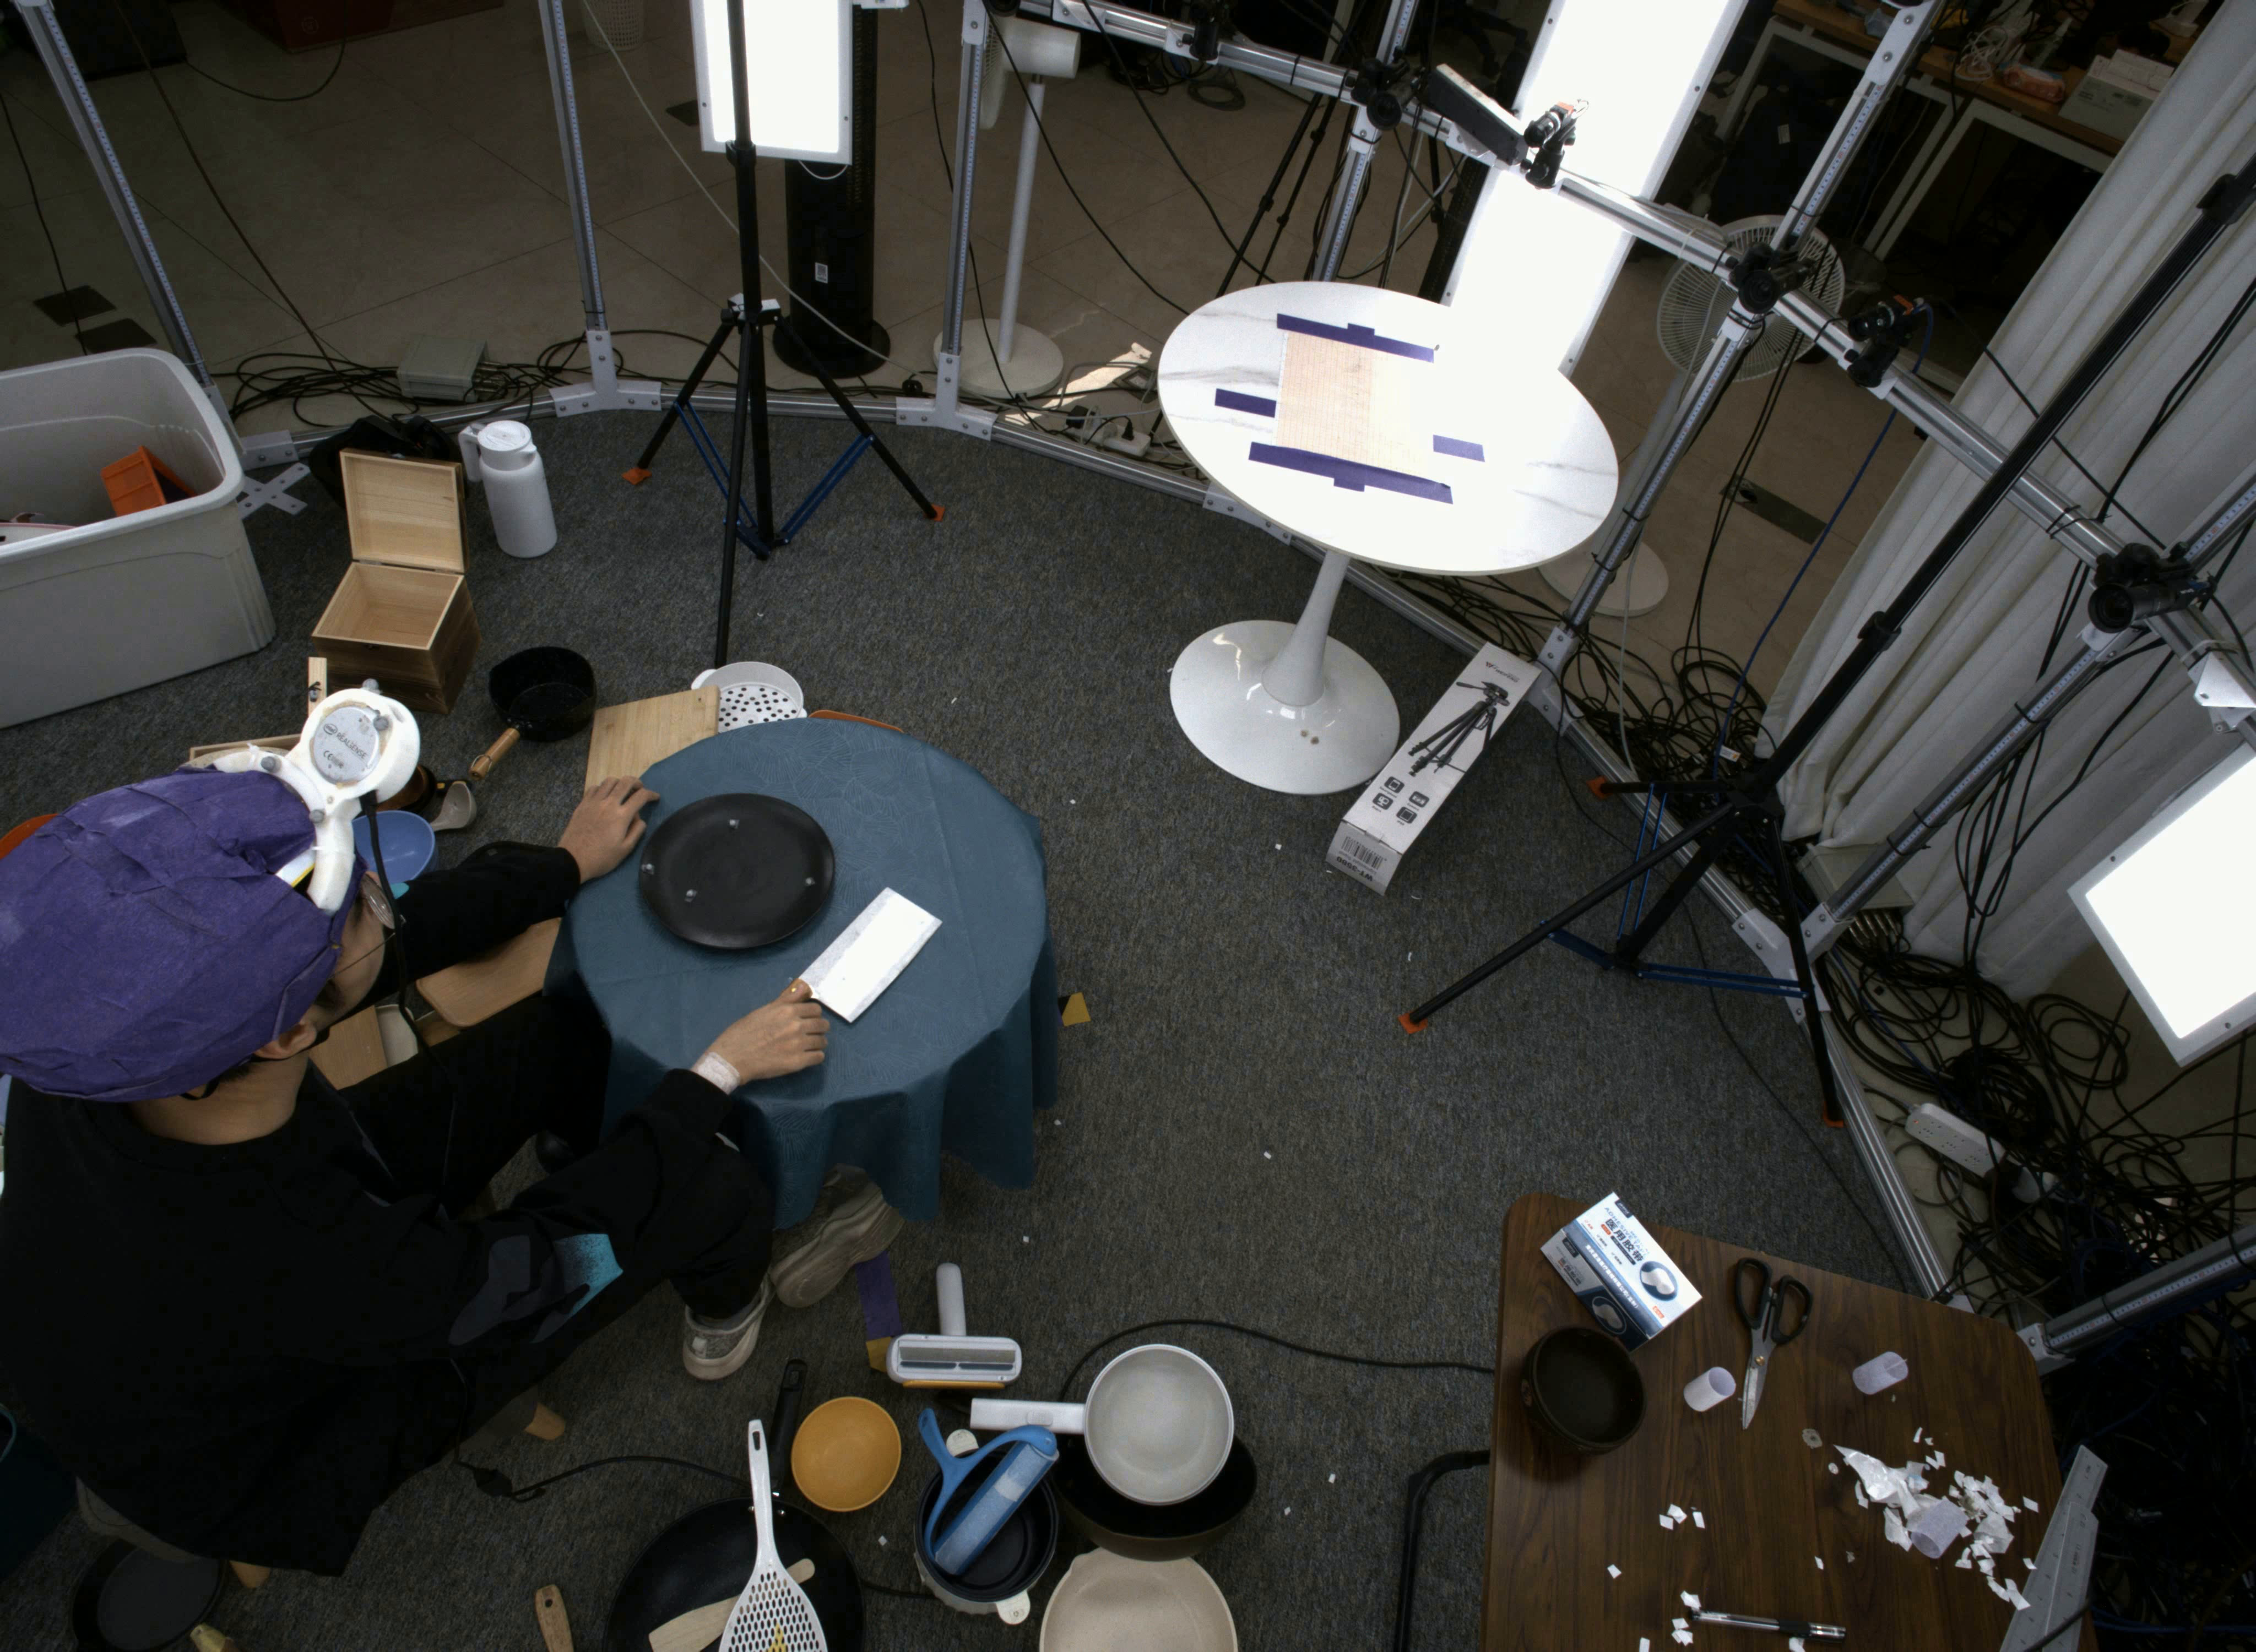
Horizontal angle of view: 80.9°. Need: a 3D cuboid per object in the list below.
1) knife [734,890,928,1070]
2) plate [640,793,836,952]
[{"bbox_3d":[-0.350,0.190,1.581,0.091,0.021,0.305,32,50,8],"label":"knife"},{"bbox_3d":[-0.493,0.058,1.636,0.244,0.024,0.240,8,52,-9],"label":"plate"}]
